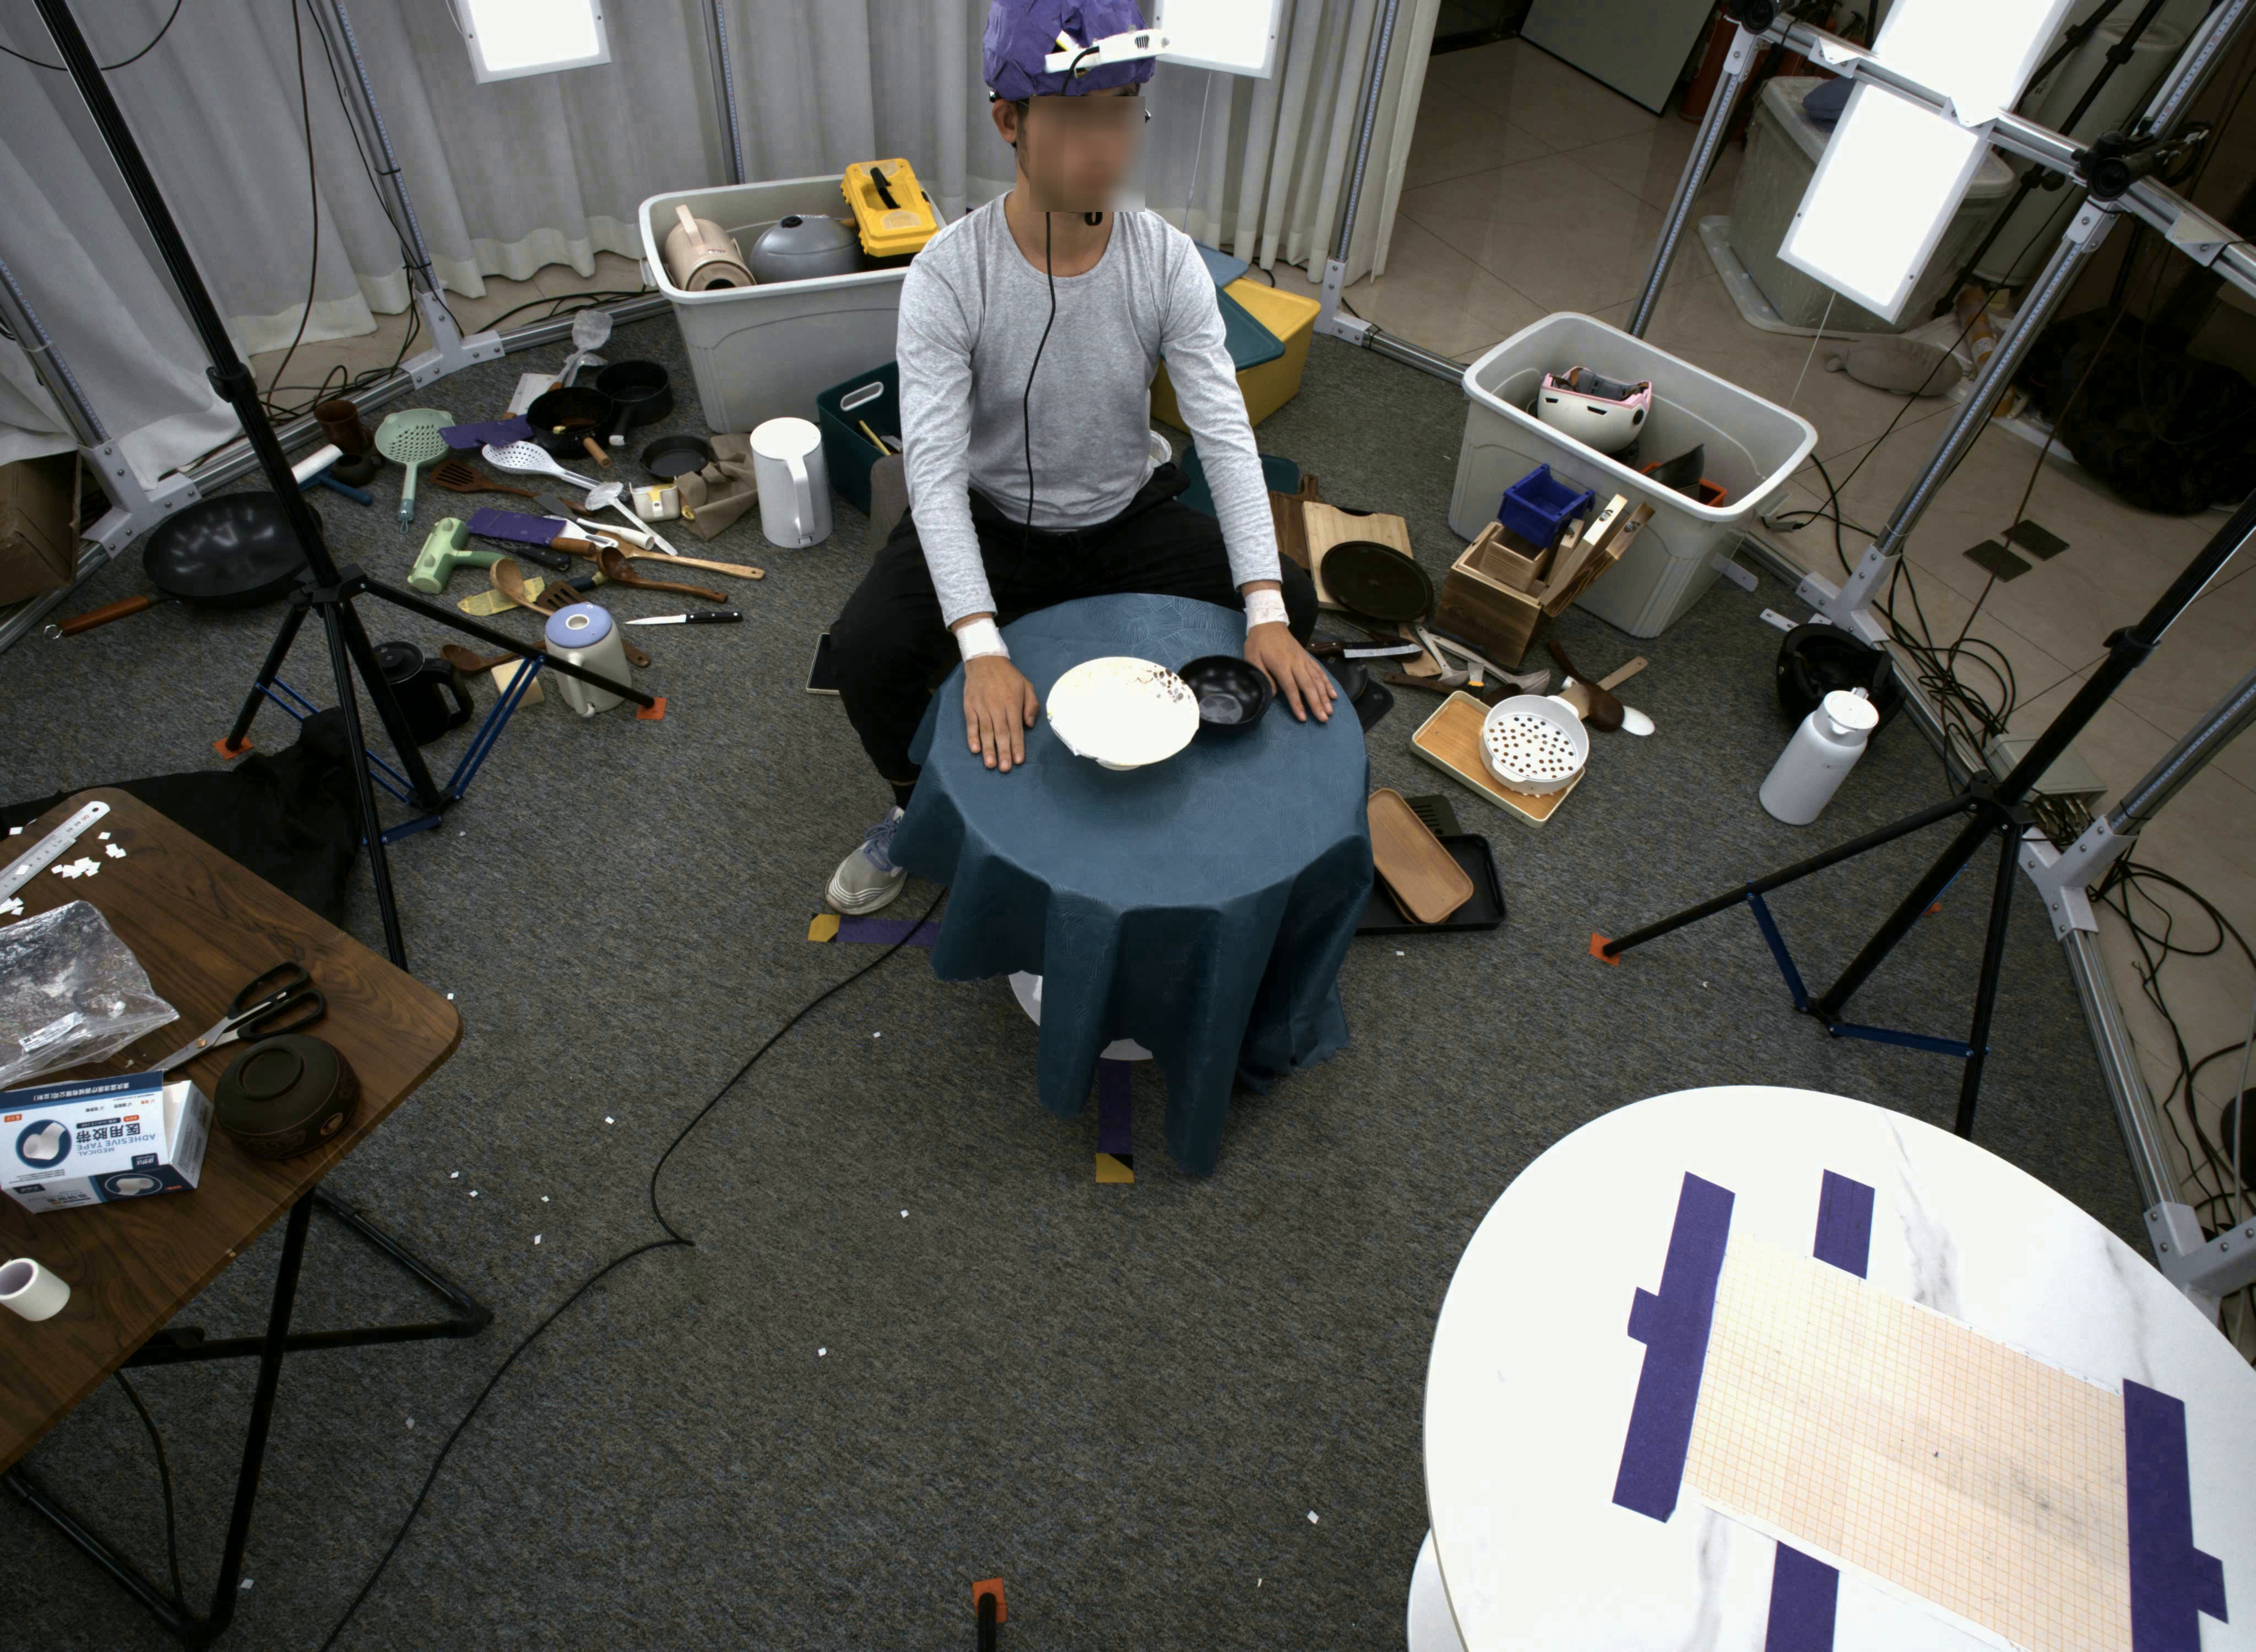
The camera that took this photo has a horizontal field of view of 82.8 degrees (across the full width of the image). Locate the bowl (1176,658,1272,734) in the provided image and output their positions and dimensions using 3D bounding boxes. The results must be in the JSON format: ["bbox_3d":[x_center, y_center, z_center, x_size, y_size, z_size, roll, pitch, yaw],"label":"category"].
[{"bbox_3d":[0.130,-0.174,1.799,0.140,0.048,0.143,2,44,-2],"label":"bowl"}]

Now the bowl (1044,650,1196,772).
[{"bbox_3d":[-0.014,-0.136,1.719,0.203,0.076,0.209,4,55,-6],"label":"bowl"}]
